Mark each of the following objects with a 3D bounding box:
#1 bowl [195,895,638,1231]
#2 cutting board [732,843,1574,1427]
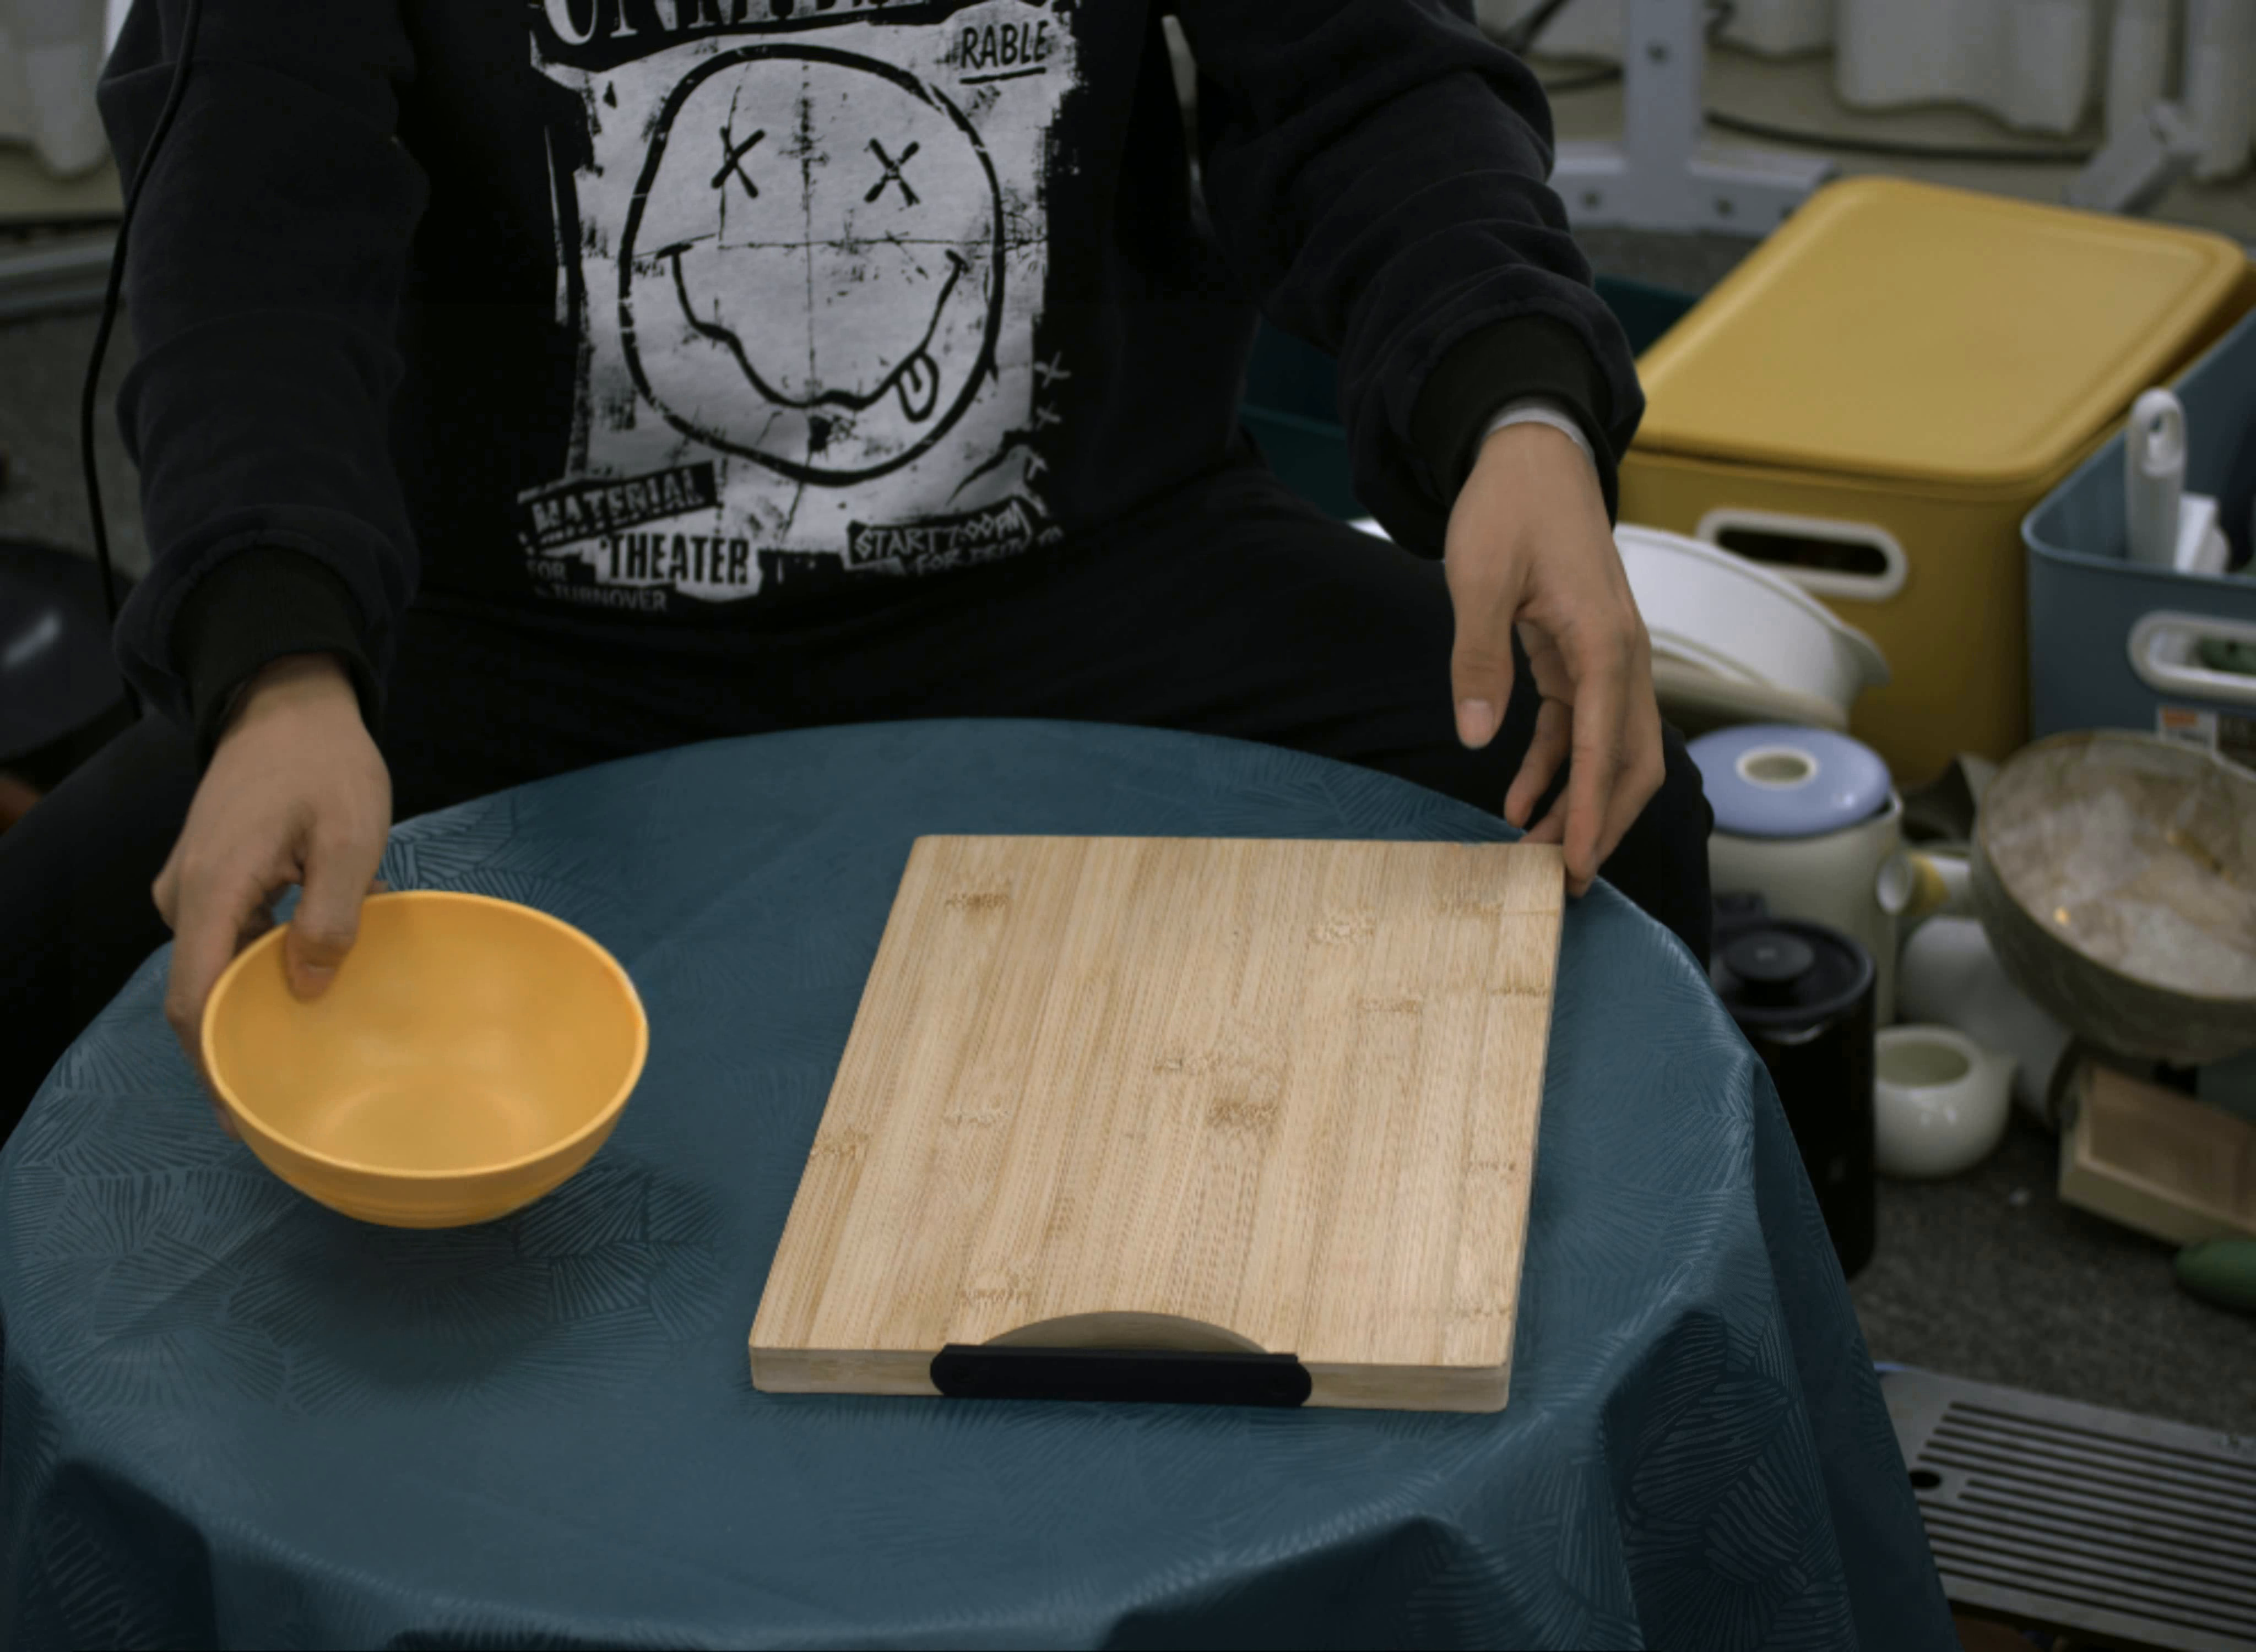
[{"bbox_3d":[-0.236,0.090,1.846,0.145,0.059,0.148,7,35,-5],"label":"bowl"},{"bbox_3d":[0.018,0.097,1.890,0.249,0.023,0.354,0,27,7],"label":"cutting board"}]
